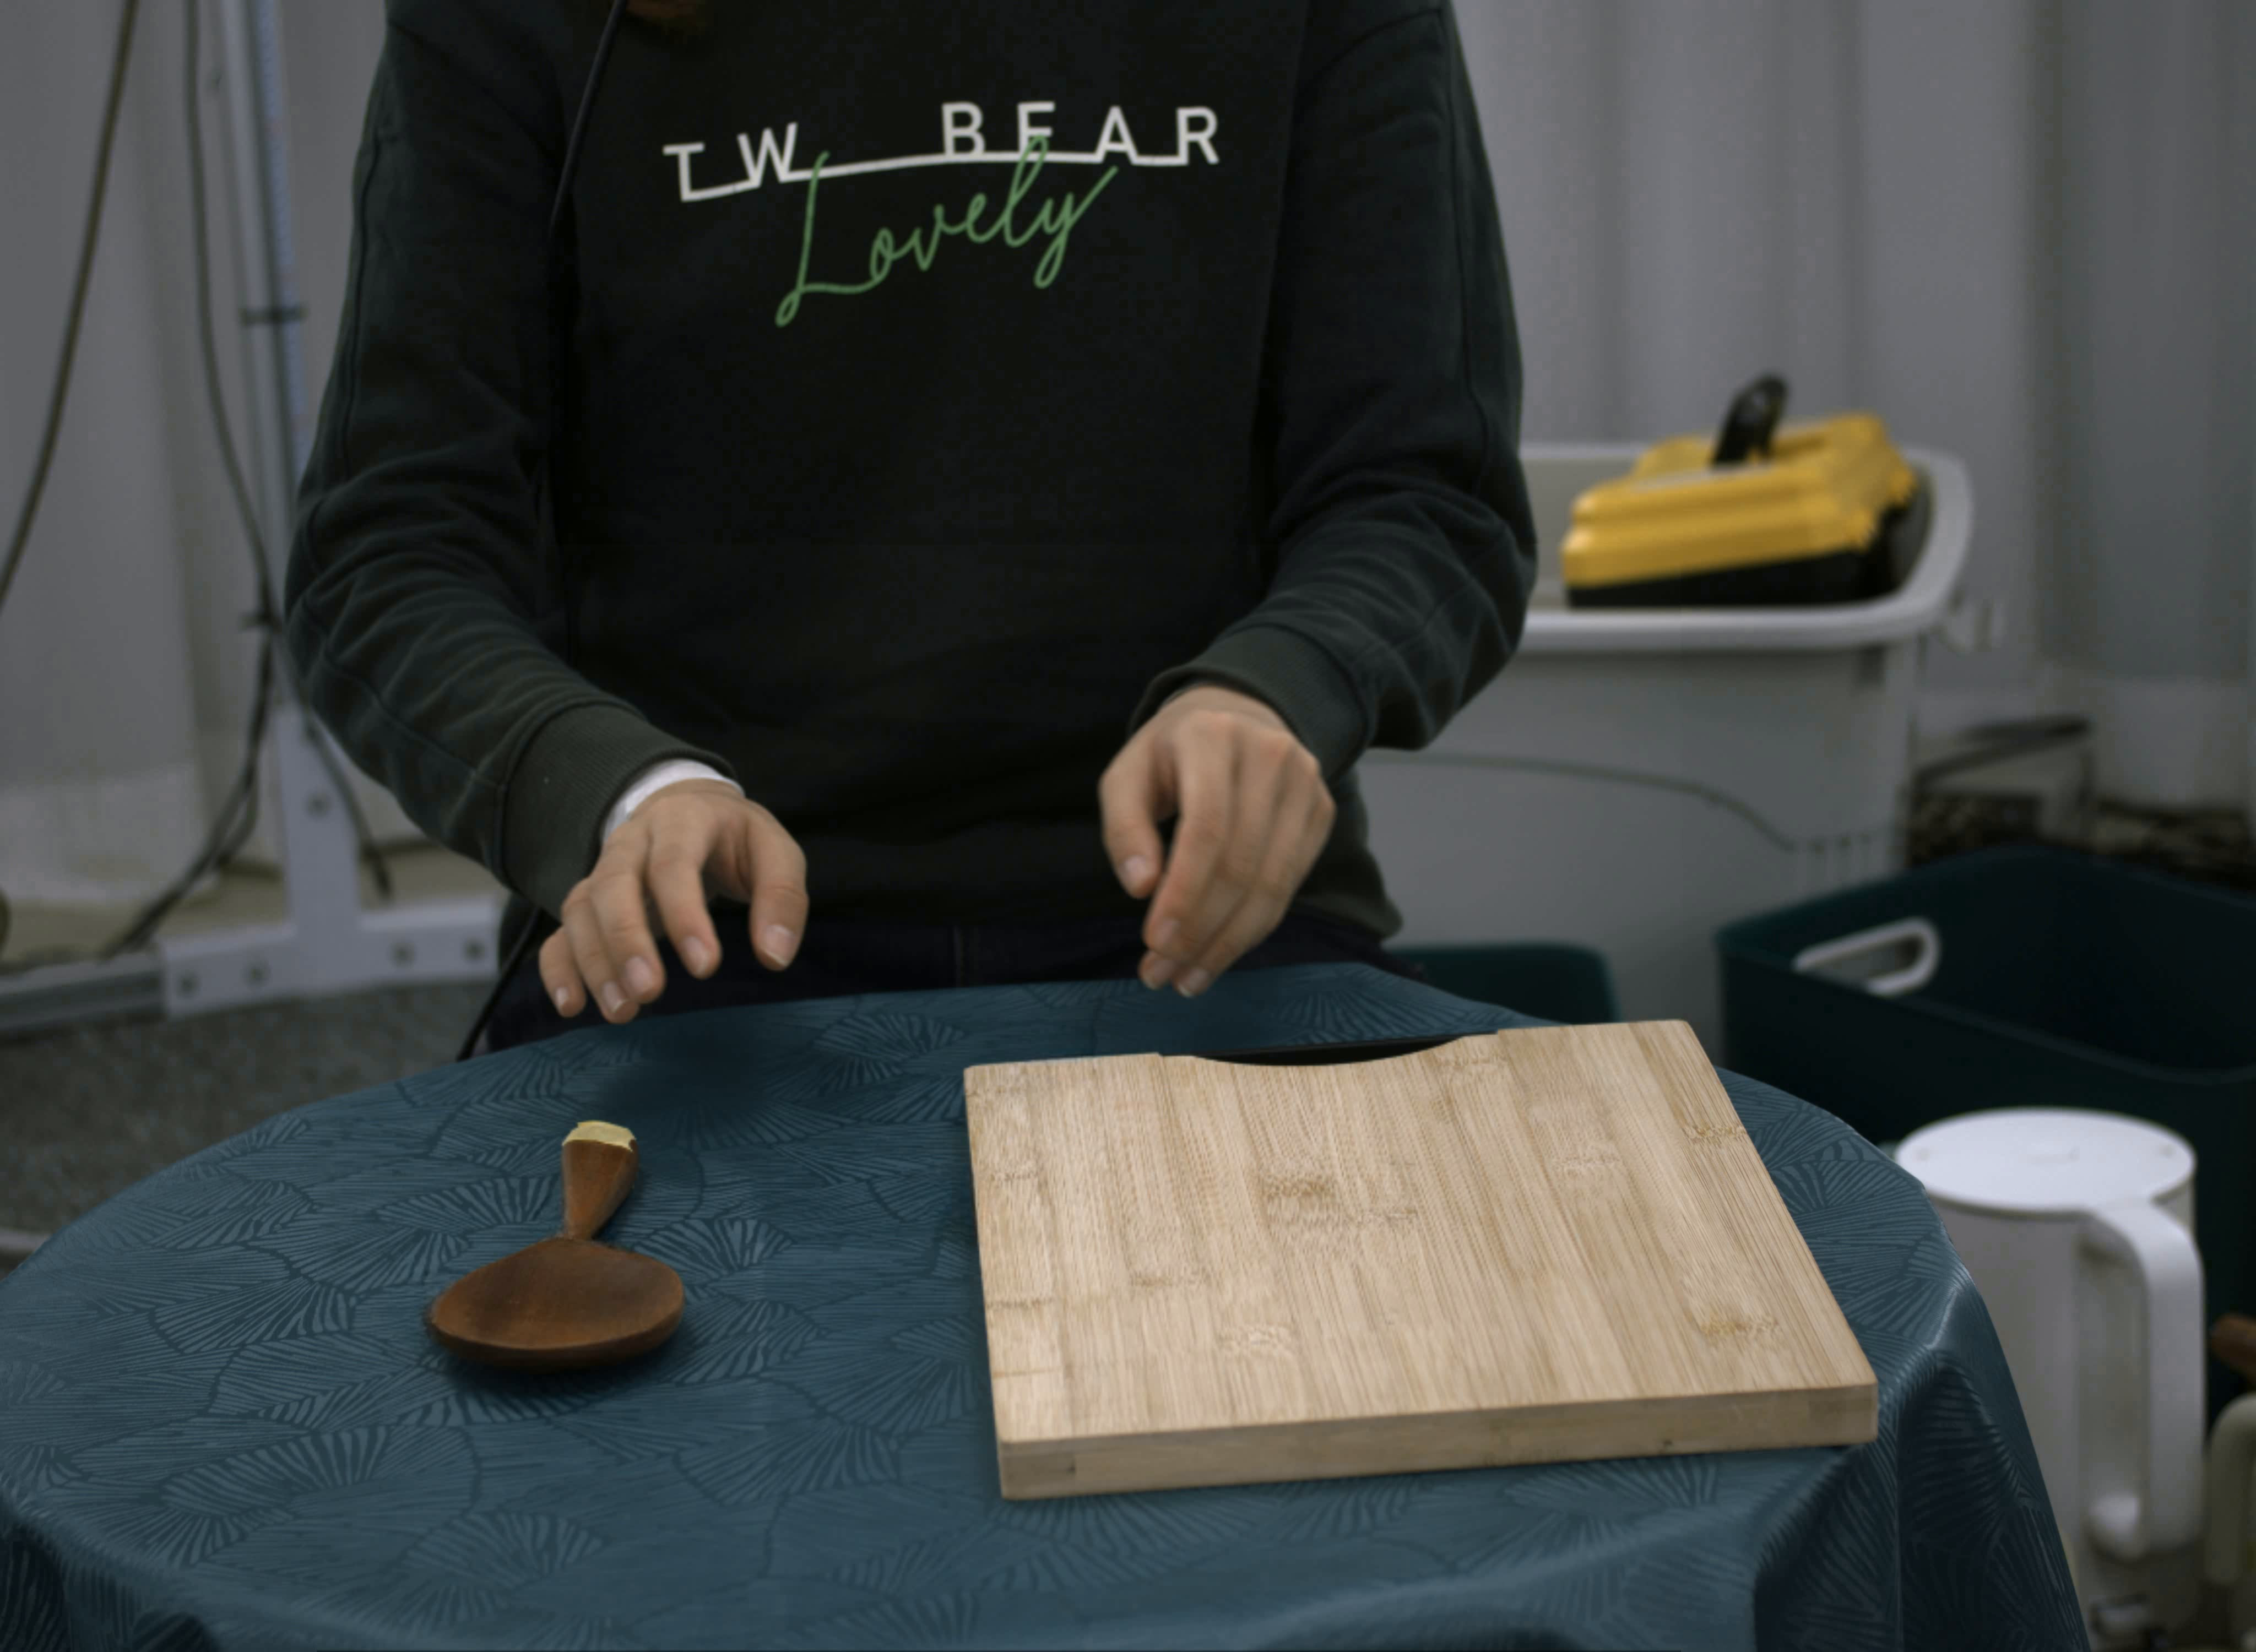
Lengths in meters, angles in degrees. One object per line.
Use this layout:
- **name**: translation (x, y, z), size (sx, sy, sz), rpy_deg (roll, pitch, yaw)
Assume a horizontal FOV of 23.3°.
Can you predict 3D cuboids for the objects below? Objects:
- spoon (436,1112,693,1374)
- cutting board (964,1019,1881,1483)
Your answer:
- **spoon**: translation (-0.166, 0.128, 1.662), size (0.075, 0.017, 0.217), rpy_deg (-5, 16, 0)
- **cutting board**: translation (0.075, 0.122, 1.641), size (0.250, 0.023, 0.351), rpy_deg (-3, 15, -3)
